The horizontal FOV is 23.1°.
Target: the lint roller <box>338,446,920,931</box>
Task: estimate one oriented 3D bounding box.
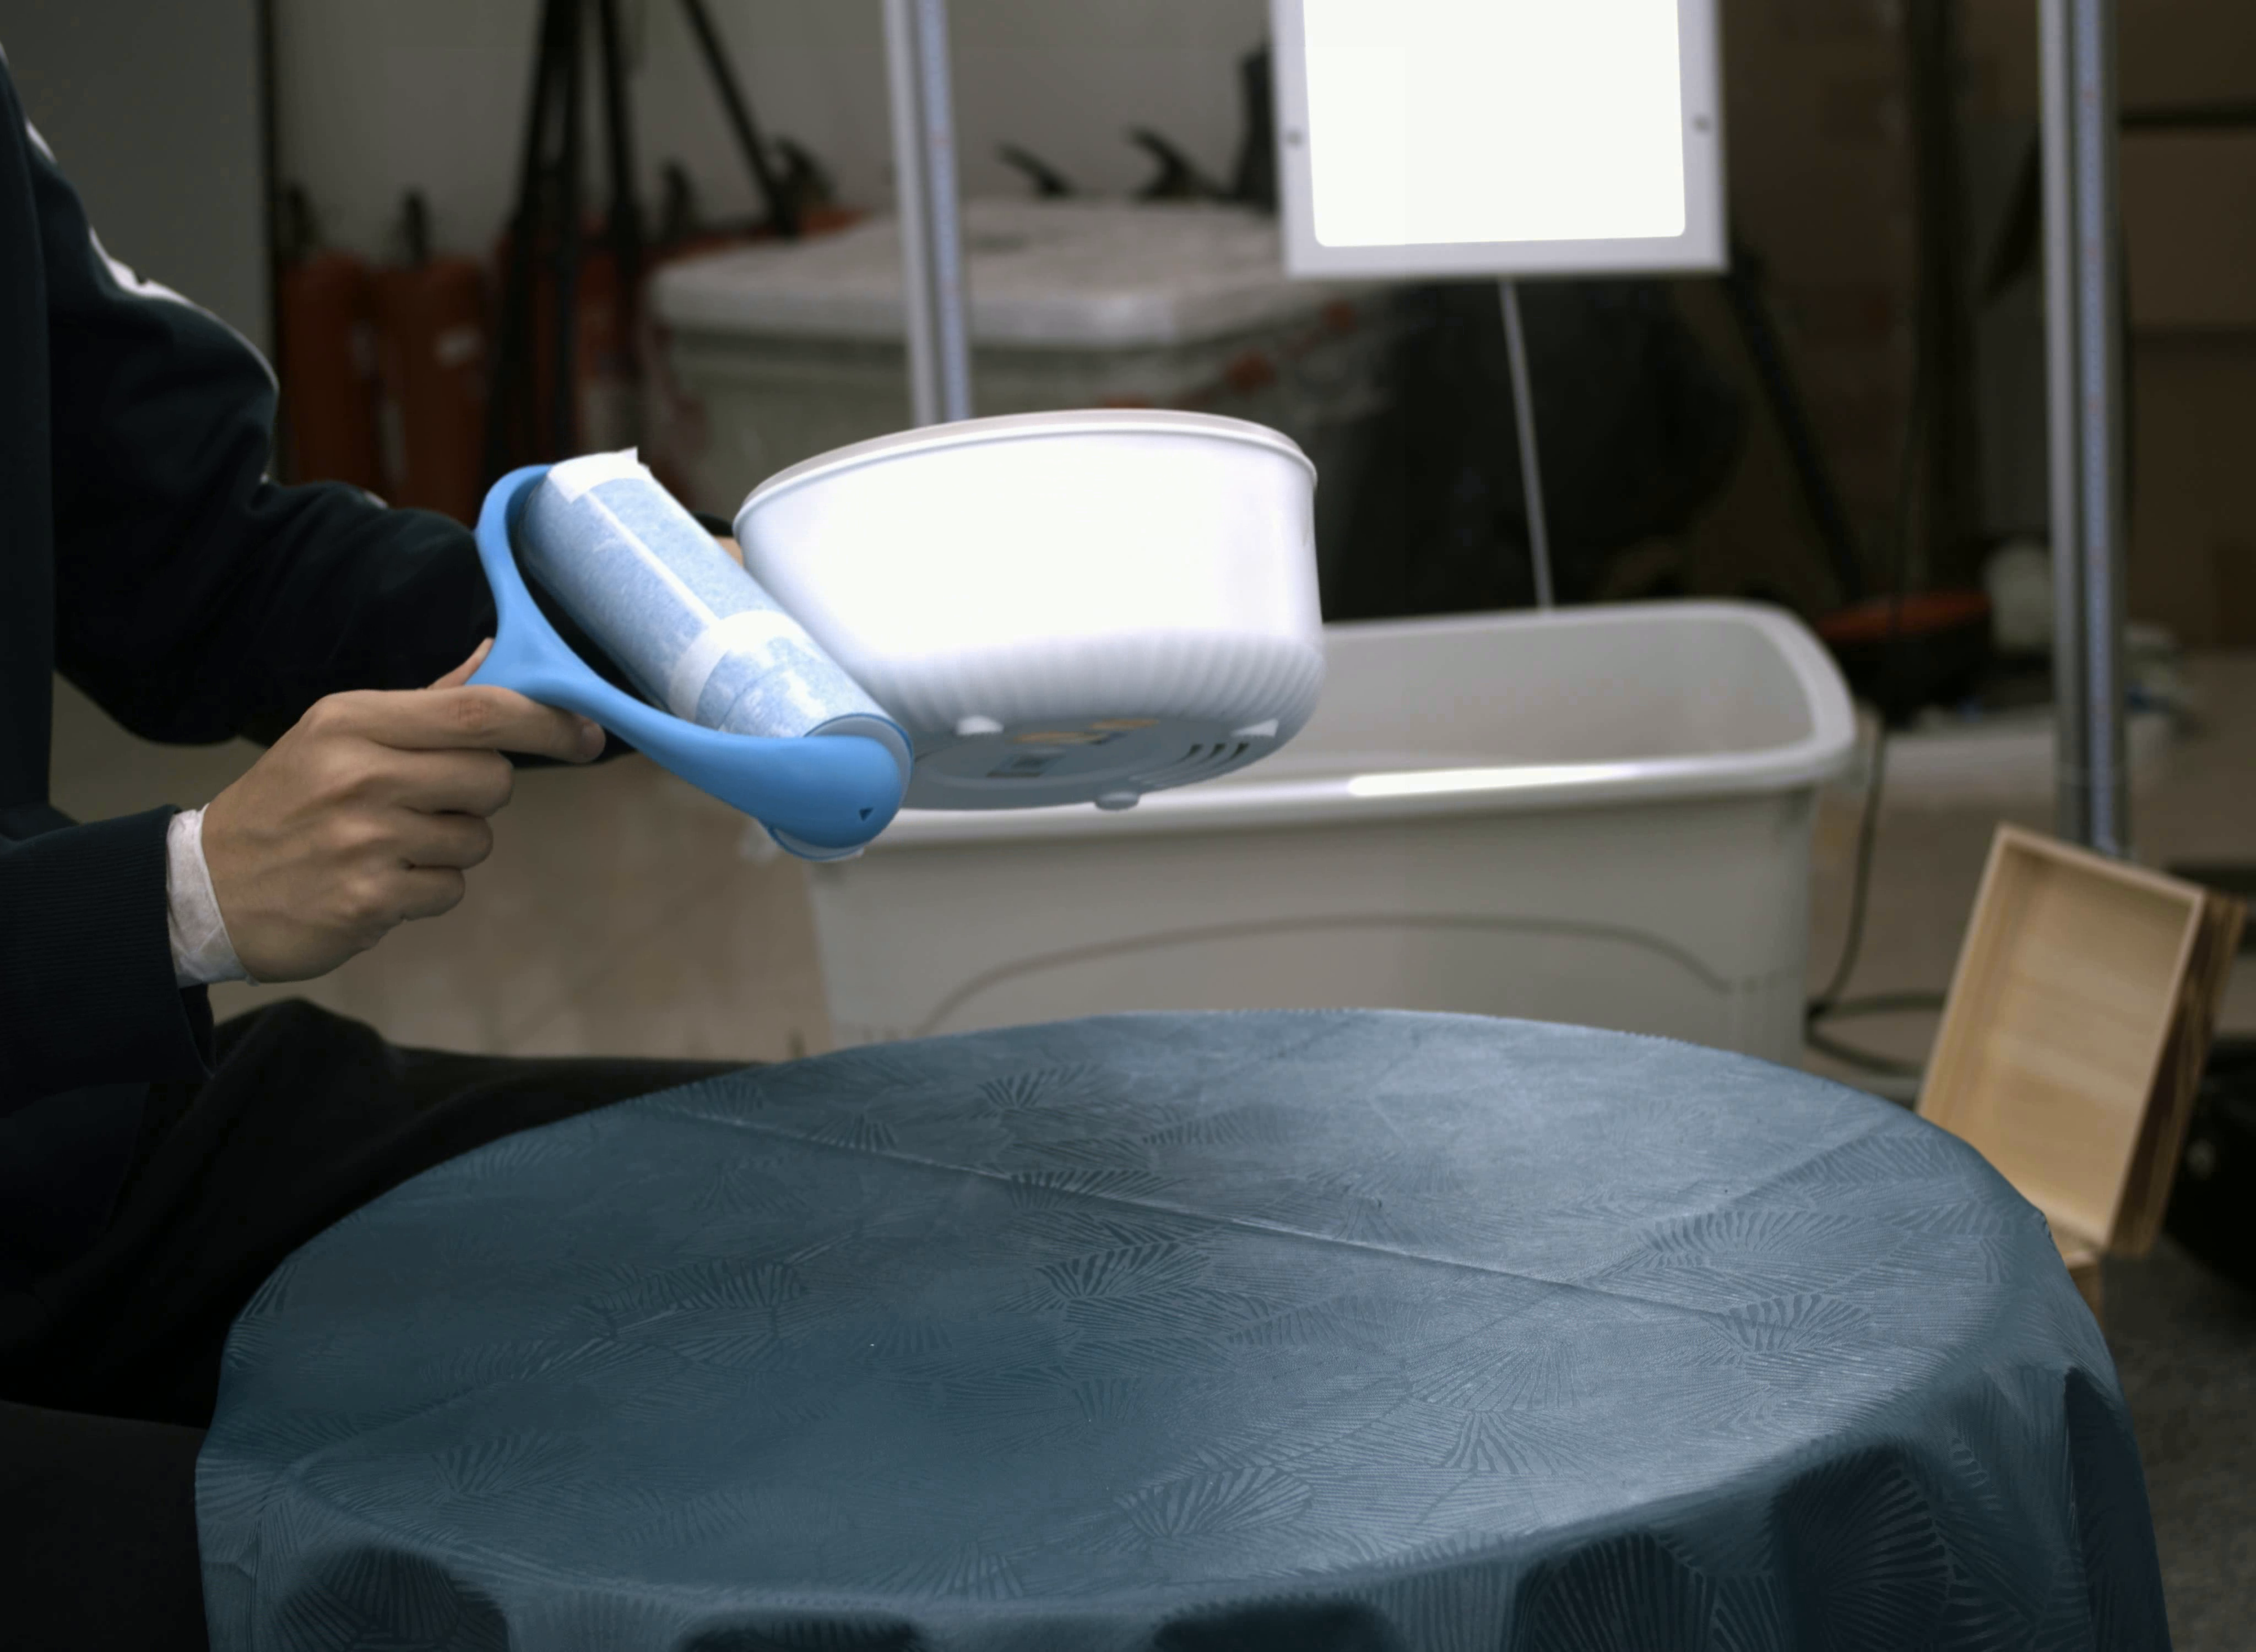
[{"bbox_3d":[-0.185,-0.033,1.801,0.178,0.068,0.232,-32,42,-15],"label":"lint roller"}]

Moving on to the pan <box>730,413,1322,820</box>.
[{"bbox_3d":[-0.065,-0.047,1.944,0.197,0.102,0.361,-1,-13,-26],"label":"pan"}]
